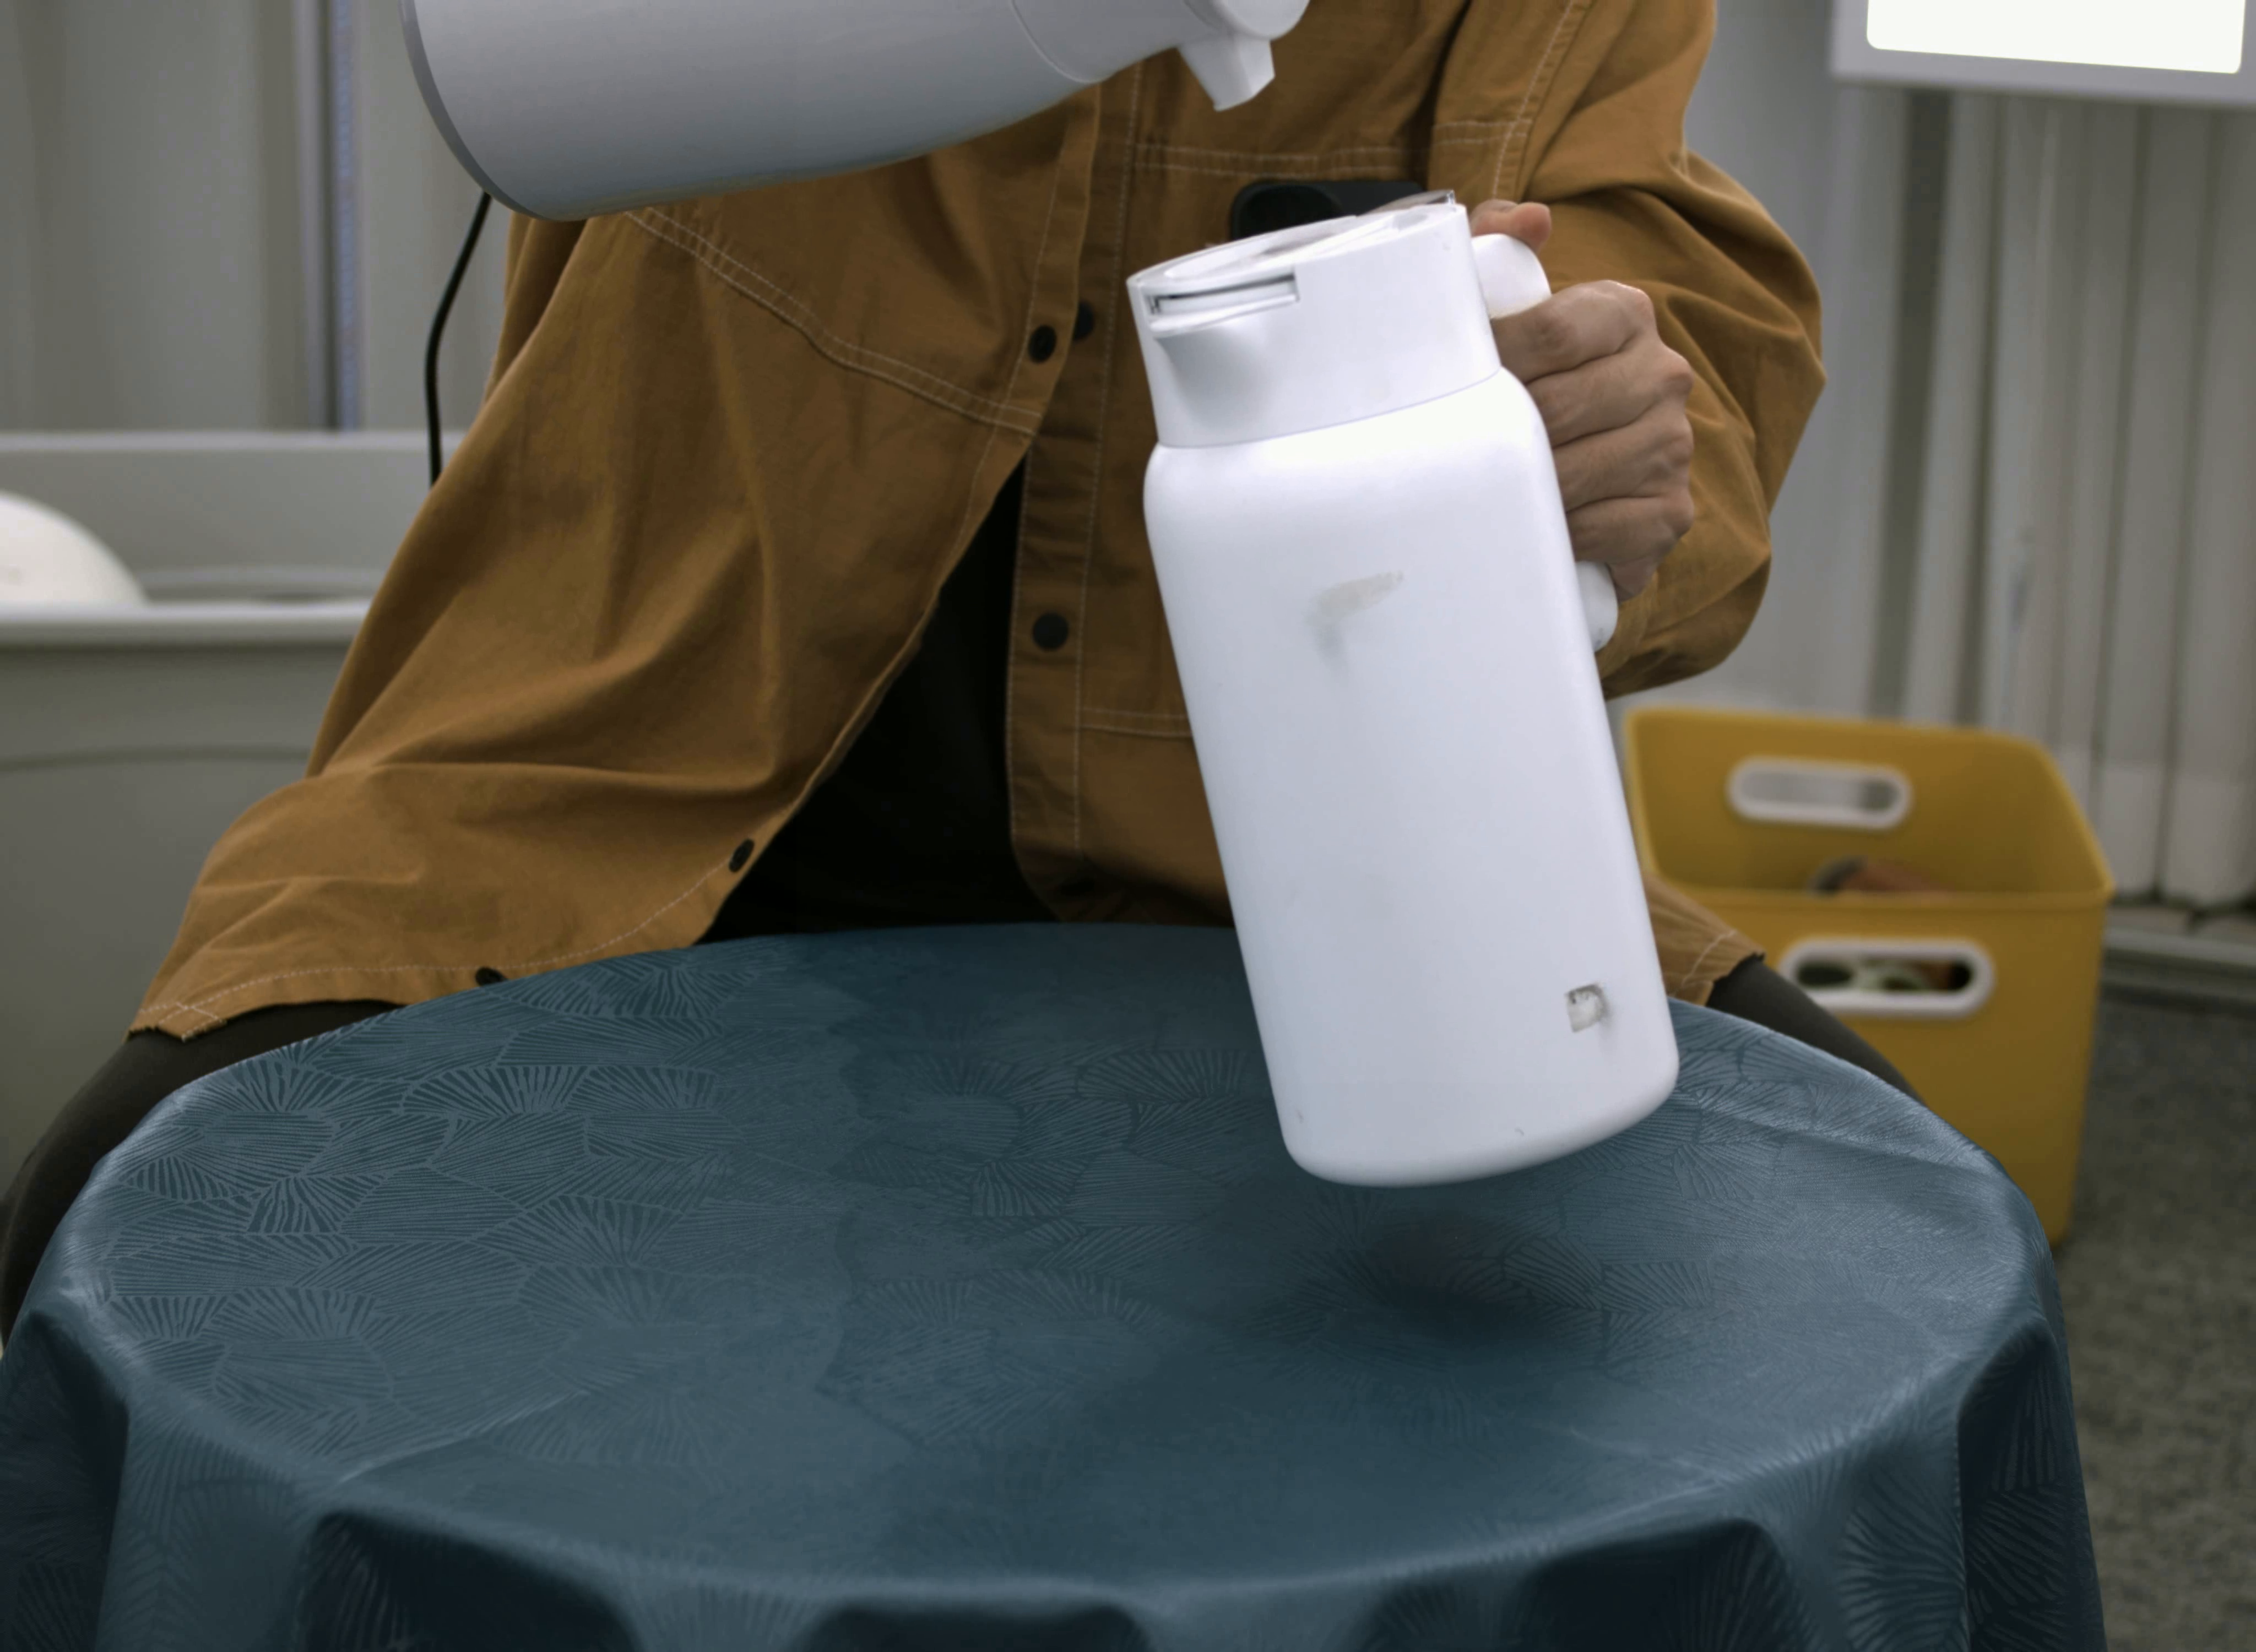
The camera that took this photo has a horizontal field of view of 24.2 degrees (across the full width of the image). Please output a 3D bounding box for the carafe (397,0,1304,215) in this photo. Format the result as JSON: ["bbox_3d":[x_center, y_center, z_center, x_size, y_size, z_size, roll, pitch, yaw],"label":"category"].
[{"bbox_3d":[-0.075,-0.271,1.472,0.246,0.169,0.132,-6,26,27],"label":"carafe"}]

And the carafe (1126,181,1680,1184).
[{"bbox_3d":[0.084,-0.045,1.510,0.122,0.271,0.173,-6,13,37],"label":"carafe"}]
